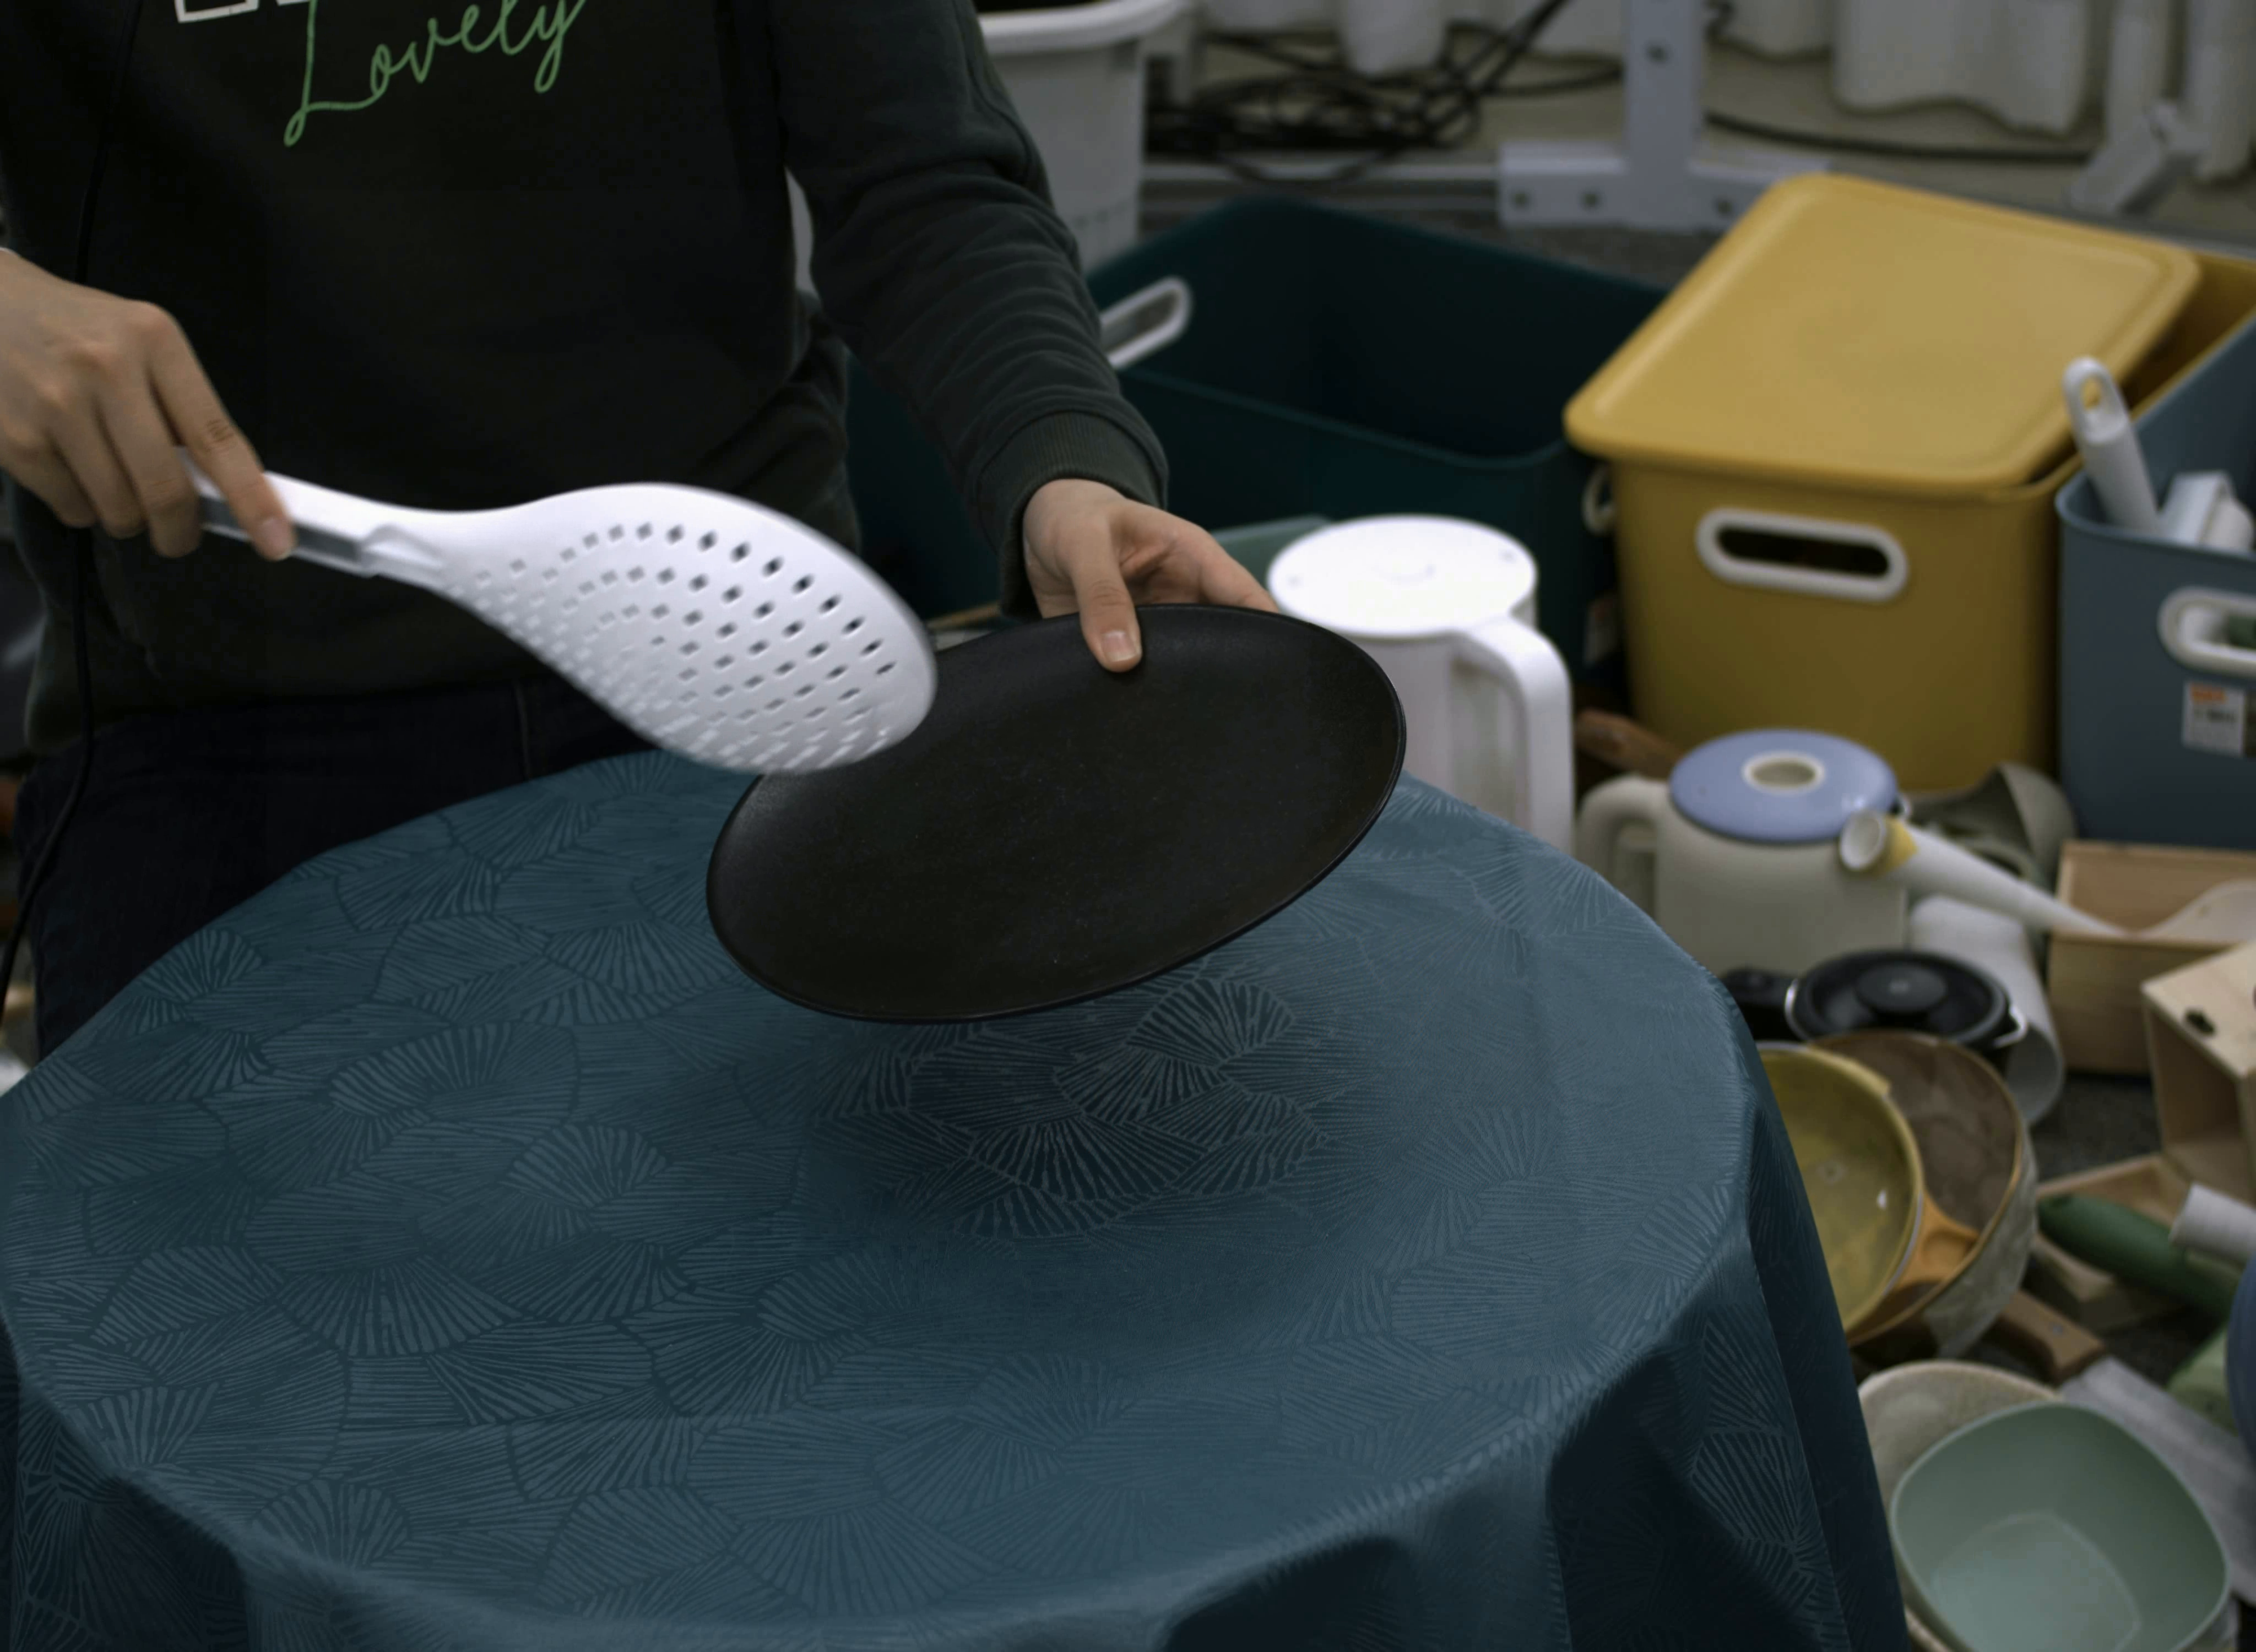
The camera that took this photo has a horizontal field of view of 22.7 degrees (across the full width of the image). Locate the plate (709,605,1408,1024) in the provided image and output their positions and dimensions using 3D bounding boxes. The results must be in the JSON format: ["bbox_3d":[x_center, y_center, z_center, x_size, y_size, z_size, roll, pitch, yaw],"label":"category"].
[{"bbox_3d":[-0.022,-0.001,1.889,0.243,0.023,0.248,-12,31,7],"label":"plate"}]

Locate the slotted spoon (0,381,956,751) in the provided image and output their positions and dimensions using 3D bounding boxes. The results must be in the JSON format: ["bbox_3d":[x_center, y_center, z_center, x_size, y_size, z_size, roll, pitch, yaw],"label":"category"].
[{"bbox_3d":[-0.224,-0.095,1.826,0.348,0.134,0.046,19,56,12],"label":"slotted spoon"}]
